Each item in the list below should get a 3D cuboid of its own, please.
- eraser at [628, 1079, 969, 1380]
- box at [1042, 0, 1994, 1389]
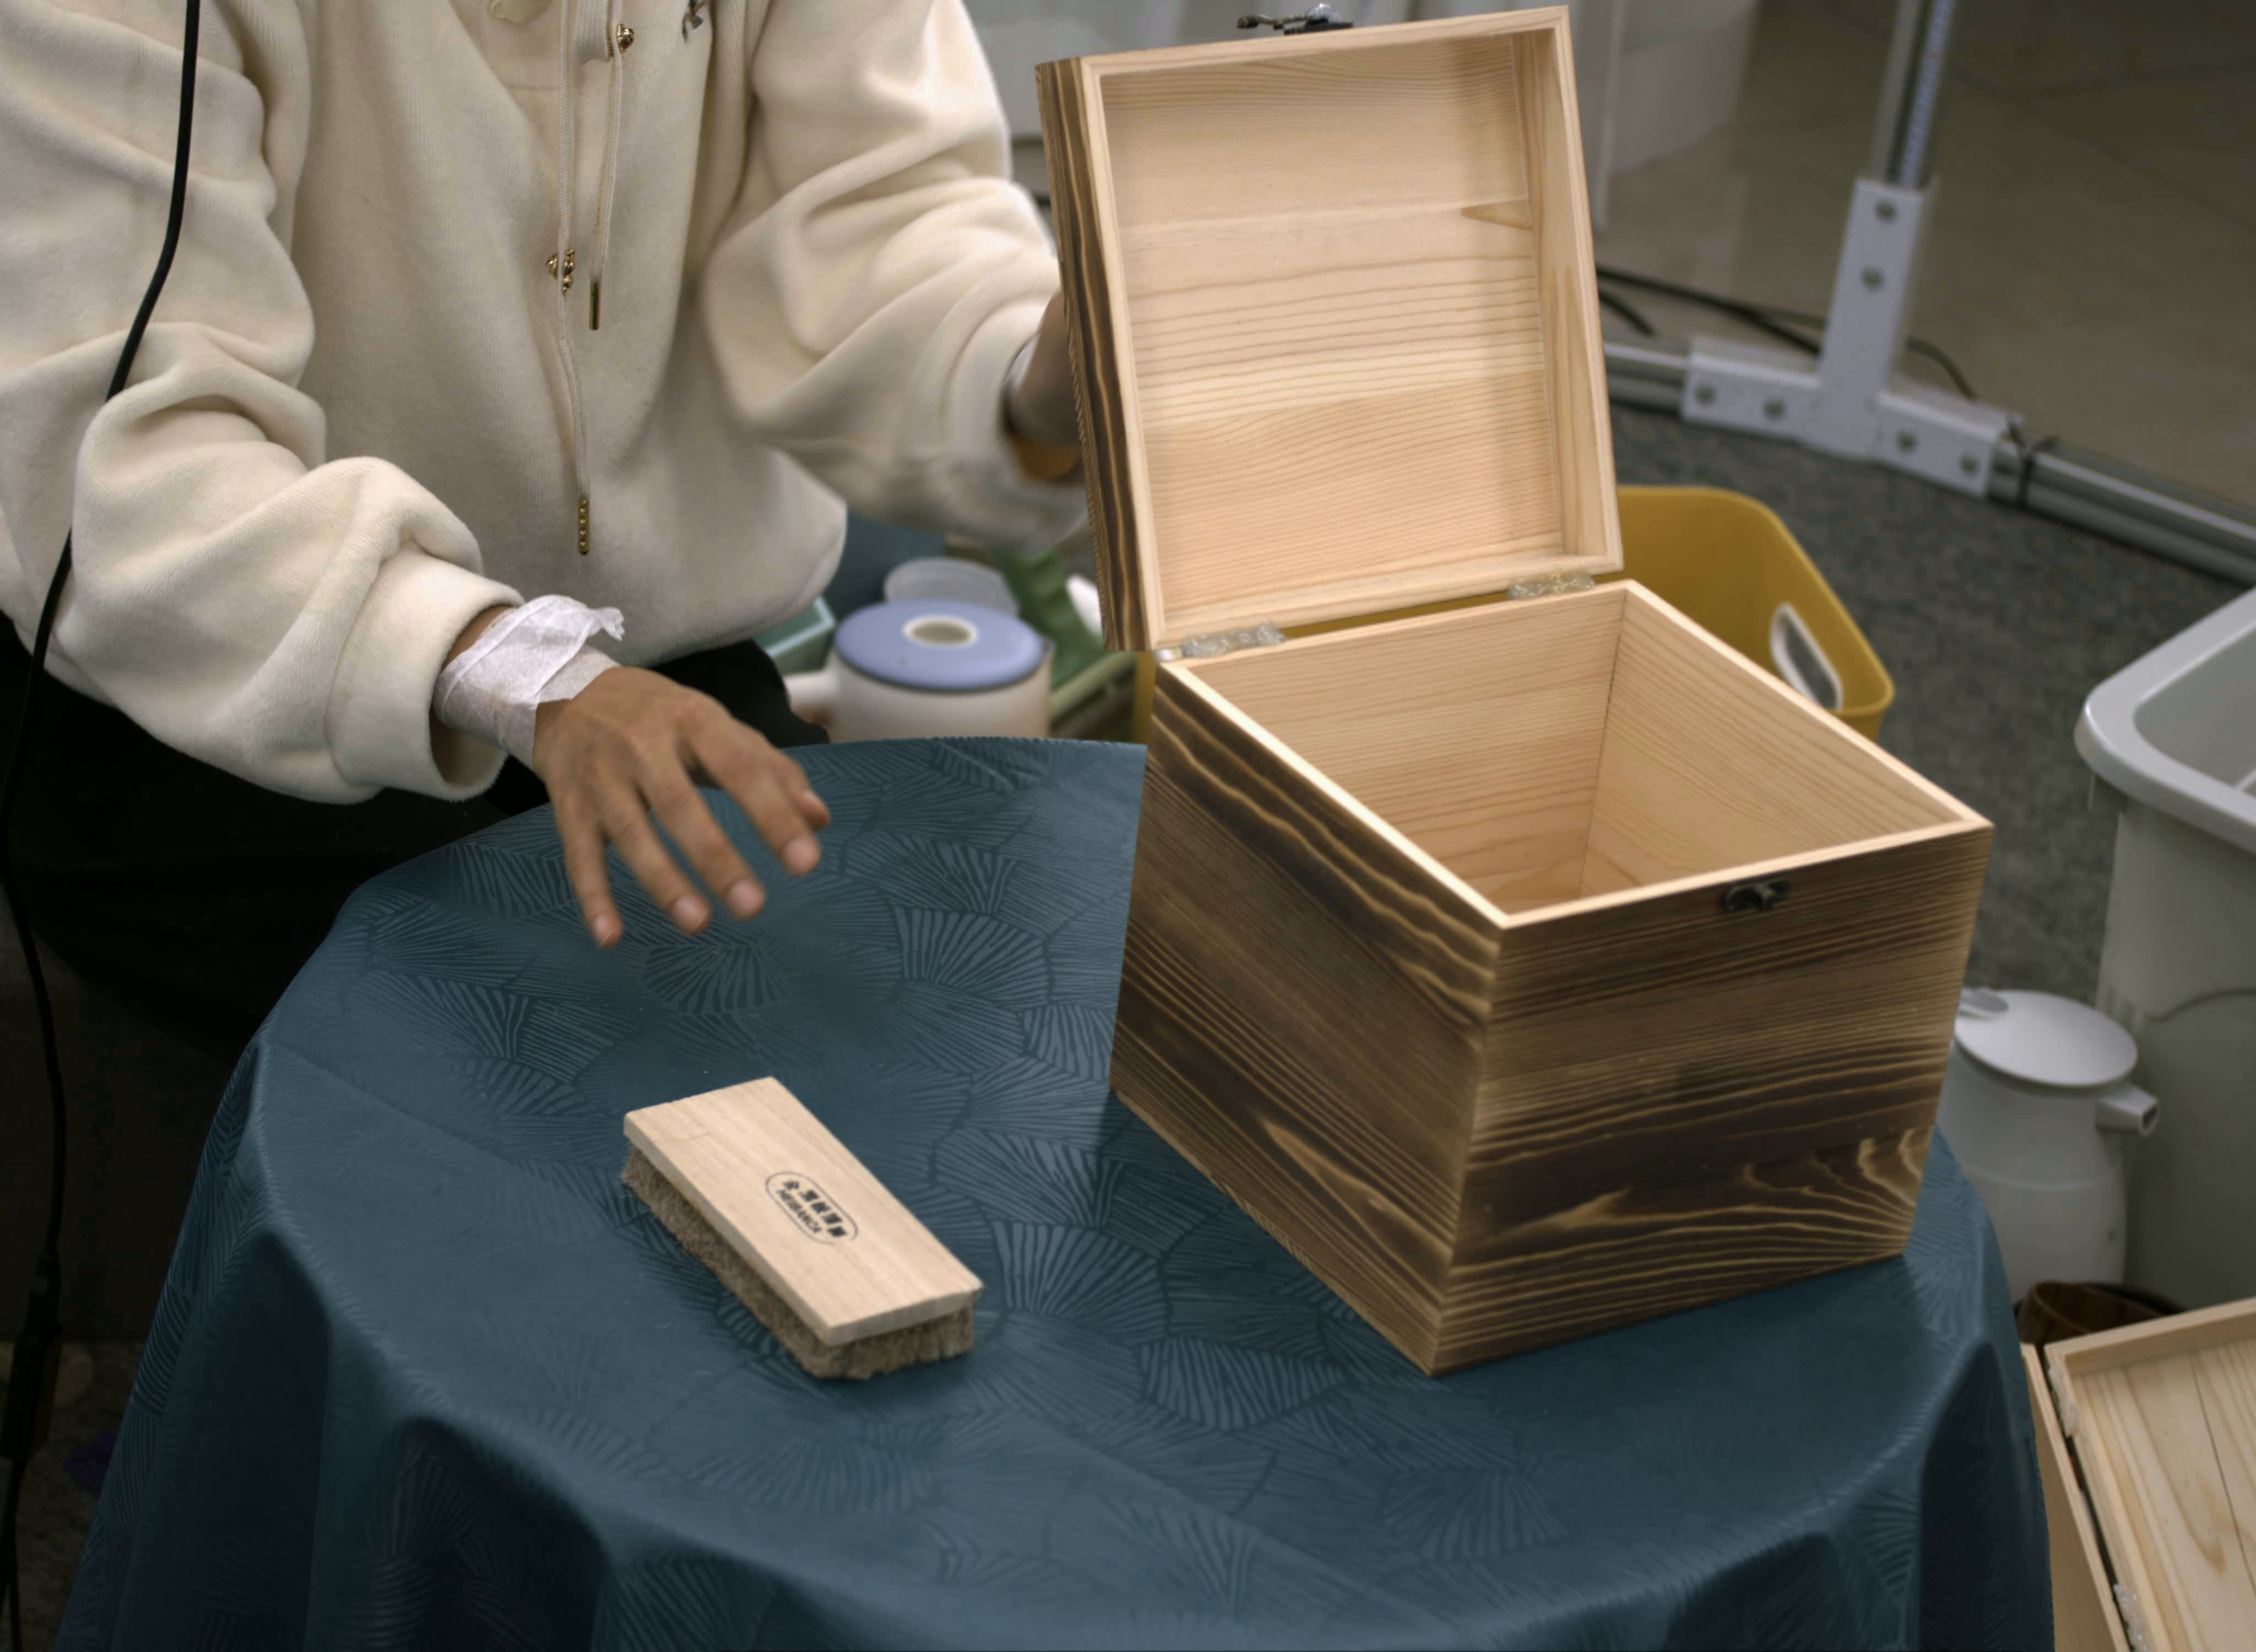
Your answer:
[{"bbox_3d":[-0.108,0.132,1.730,0.057,0.029,0.140,-13,32,-27],"label":"eraser"},{"bbox_3d":[0.119,-0.062,1.794,0.207,0.374,0.325,-12,32,-31],"label":"box"}]
